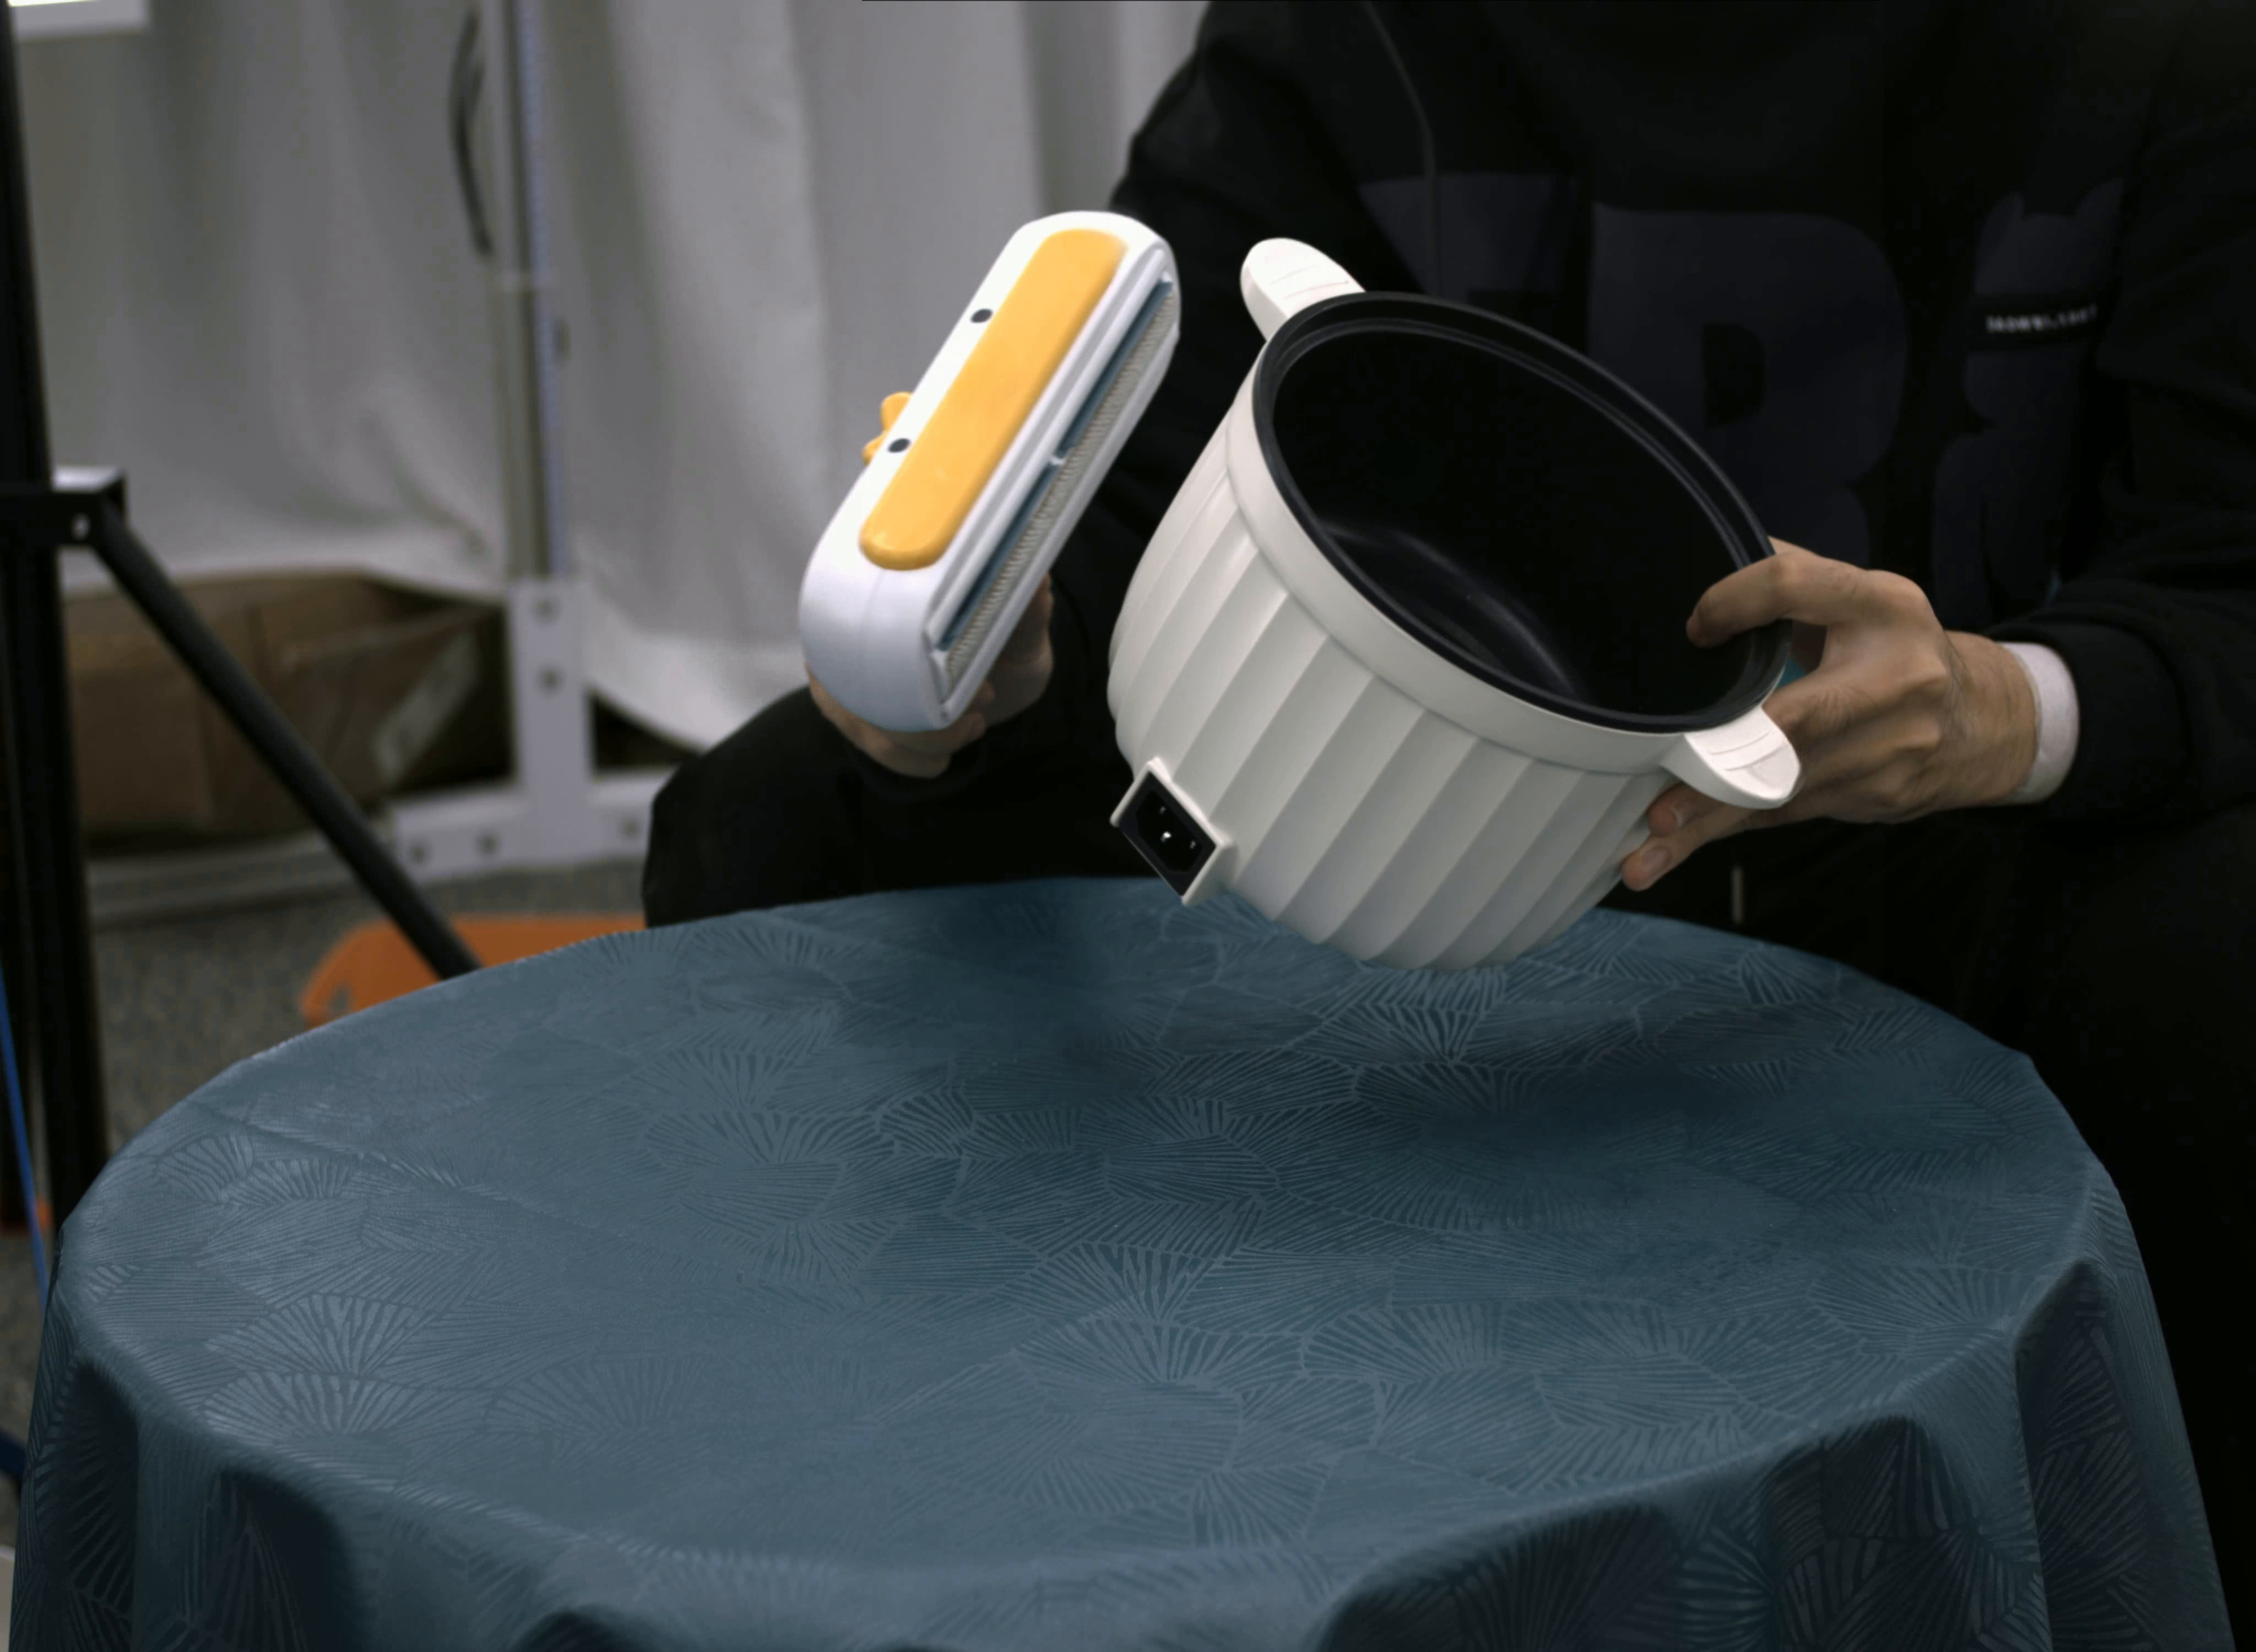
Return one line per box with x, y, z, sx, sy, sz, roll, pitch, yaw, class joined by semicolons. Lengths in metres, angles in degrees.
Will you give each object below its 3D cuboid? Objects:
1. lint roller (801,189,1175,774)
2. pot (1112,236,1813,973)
-0.049;-0.083;1.707;0.075;0.191;0.192;17;53;12;lint roller
0.093;-0.053;1.609;0.186;0.143;0.244;-21;62;-44;pot
